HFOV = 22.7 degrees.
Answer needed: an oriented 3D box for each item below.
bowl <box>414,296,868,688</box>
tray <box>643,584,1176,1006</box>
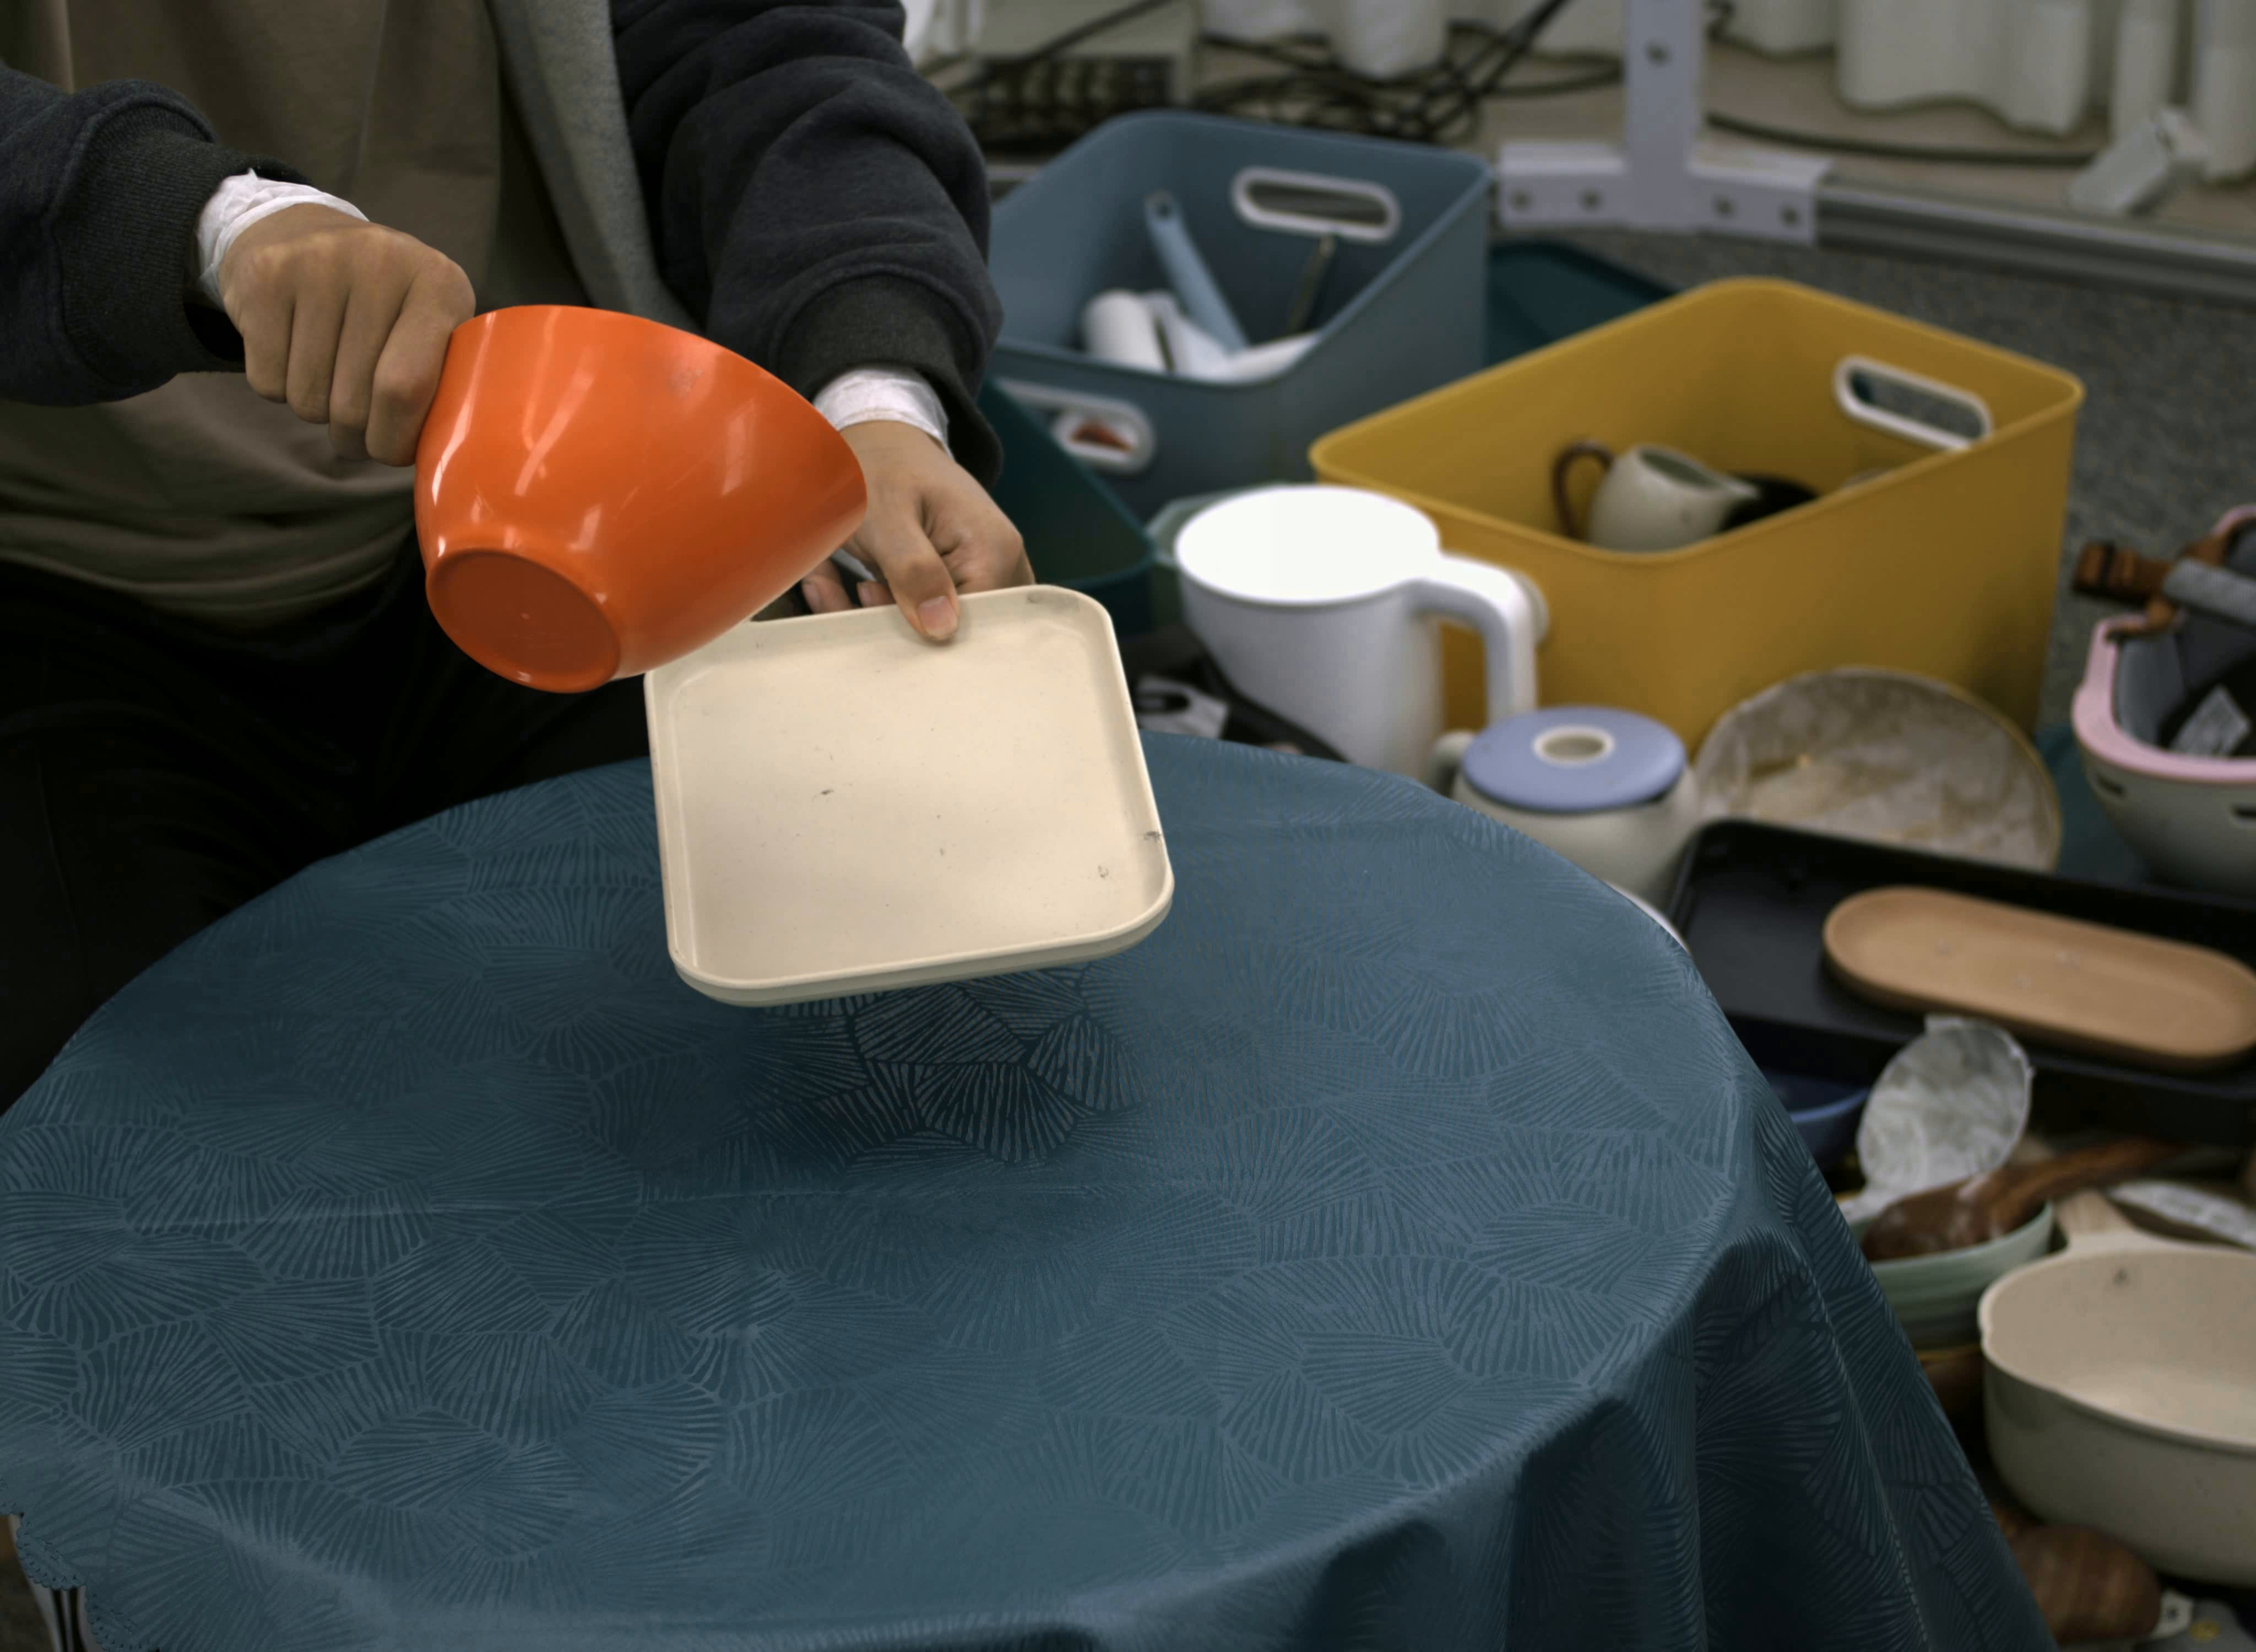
[{"bbox_3d":[-0.169,-0.095,1.813,0.147,0.146,0.107,9,49,22],"label":"bowl"},{"bbox_3d":[-0.078,-0.012,1.940,0.171,0.017,0.243,-8,31,-3],"label":"tray"}]
